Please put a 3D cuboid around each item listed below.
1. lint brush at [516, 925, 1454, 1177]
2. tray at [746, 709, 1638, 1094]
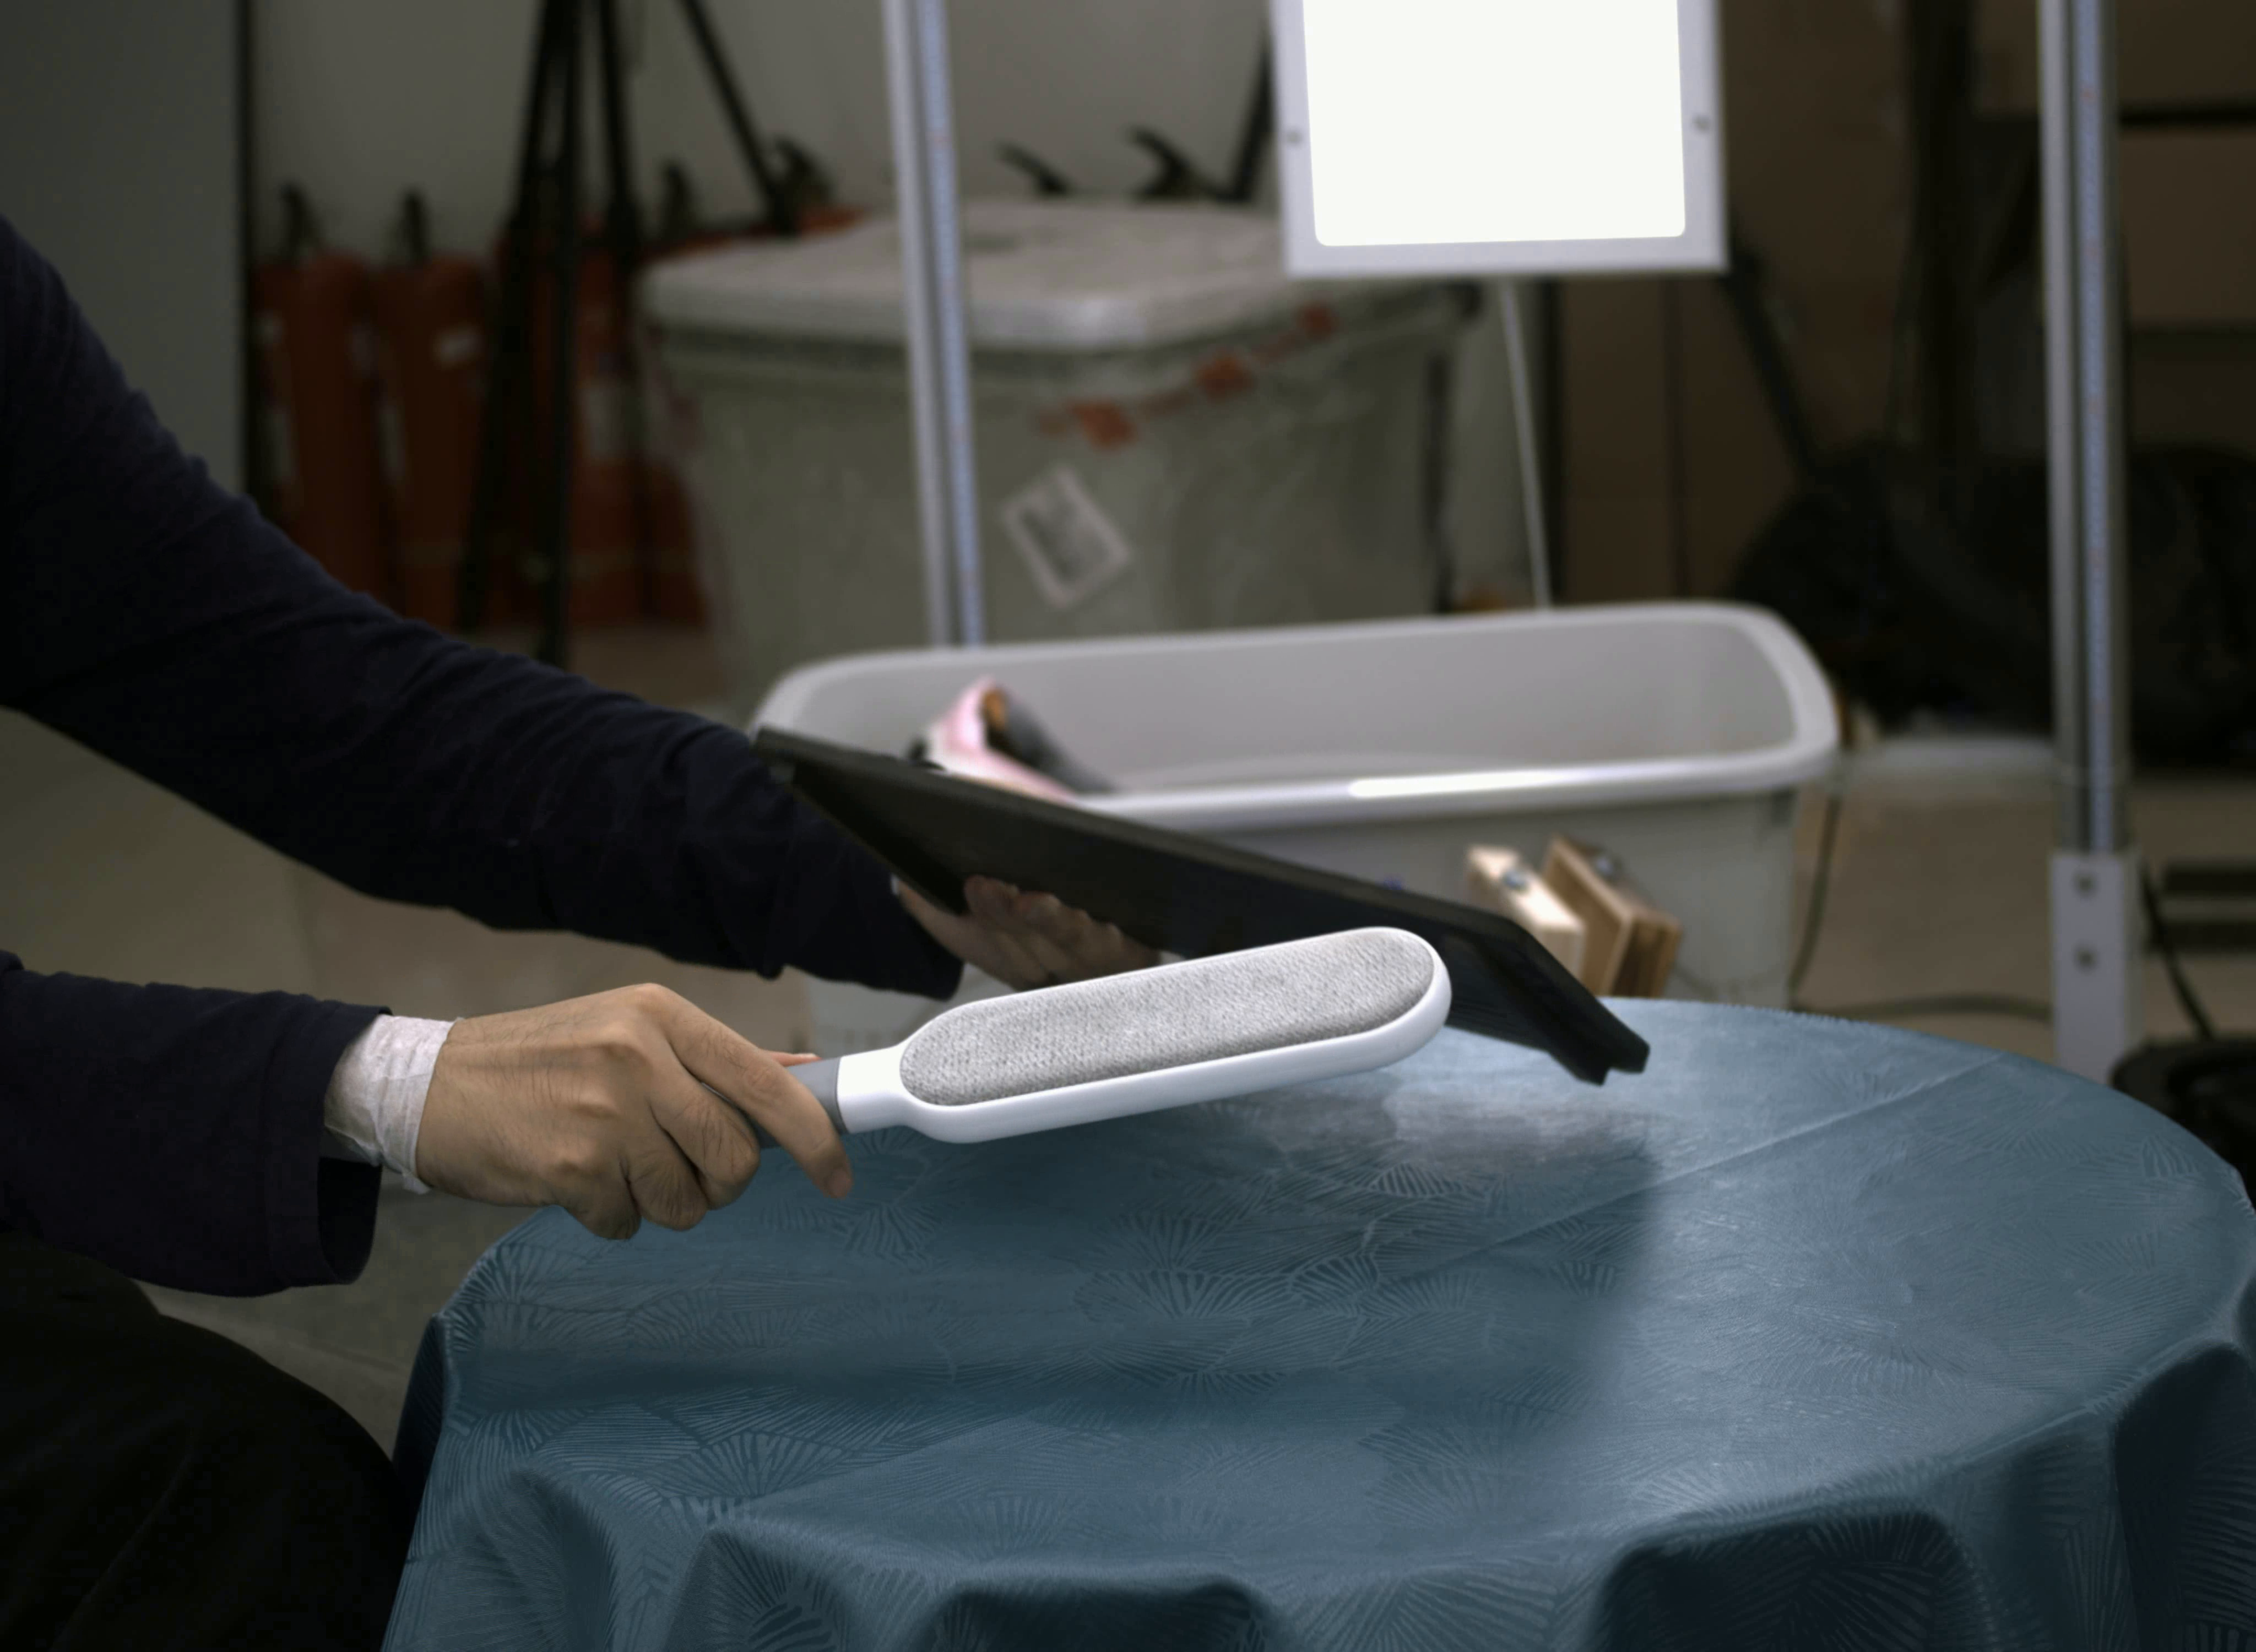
[{"bbox_3d":[-0.047,0.075,1.745,0.311,0.021,0.060,-10,41,13],"label":"lint brush"},{"bbox_3d":[0.021,0.028,1.940,0.311,0.018,0.168,15,-15,29],"label":"tray"}]
